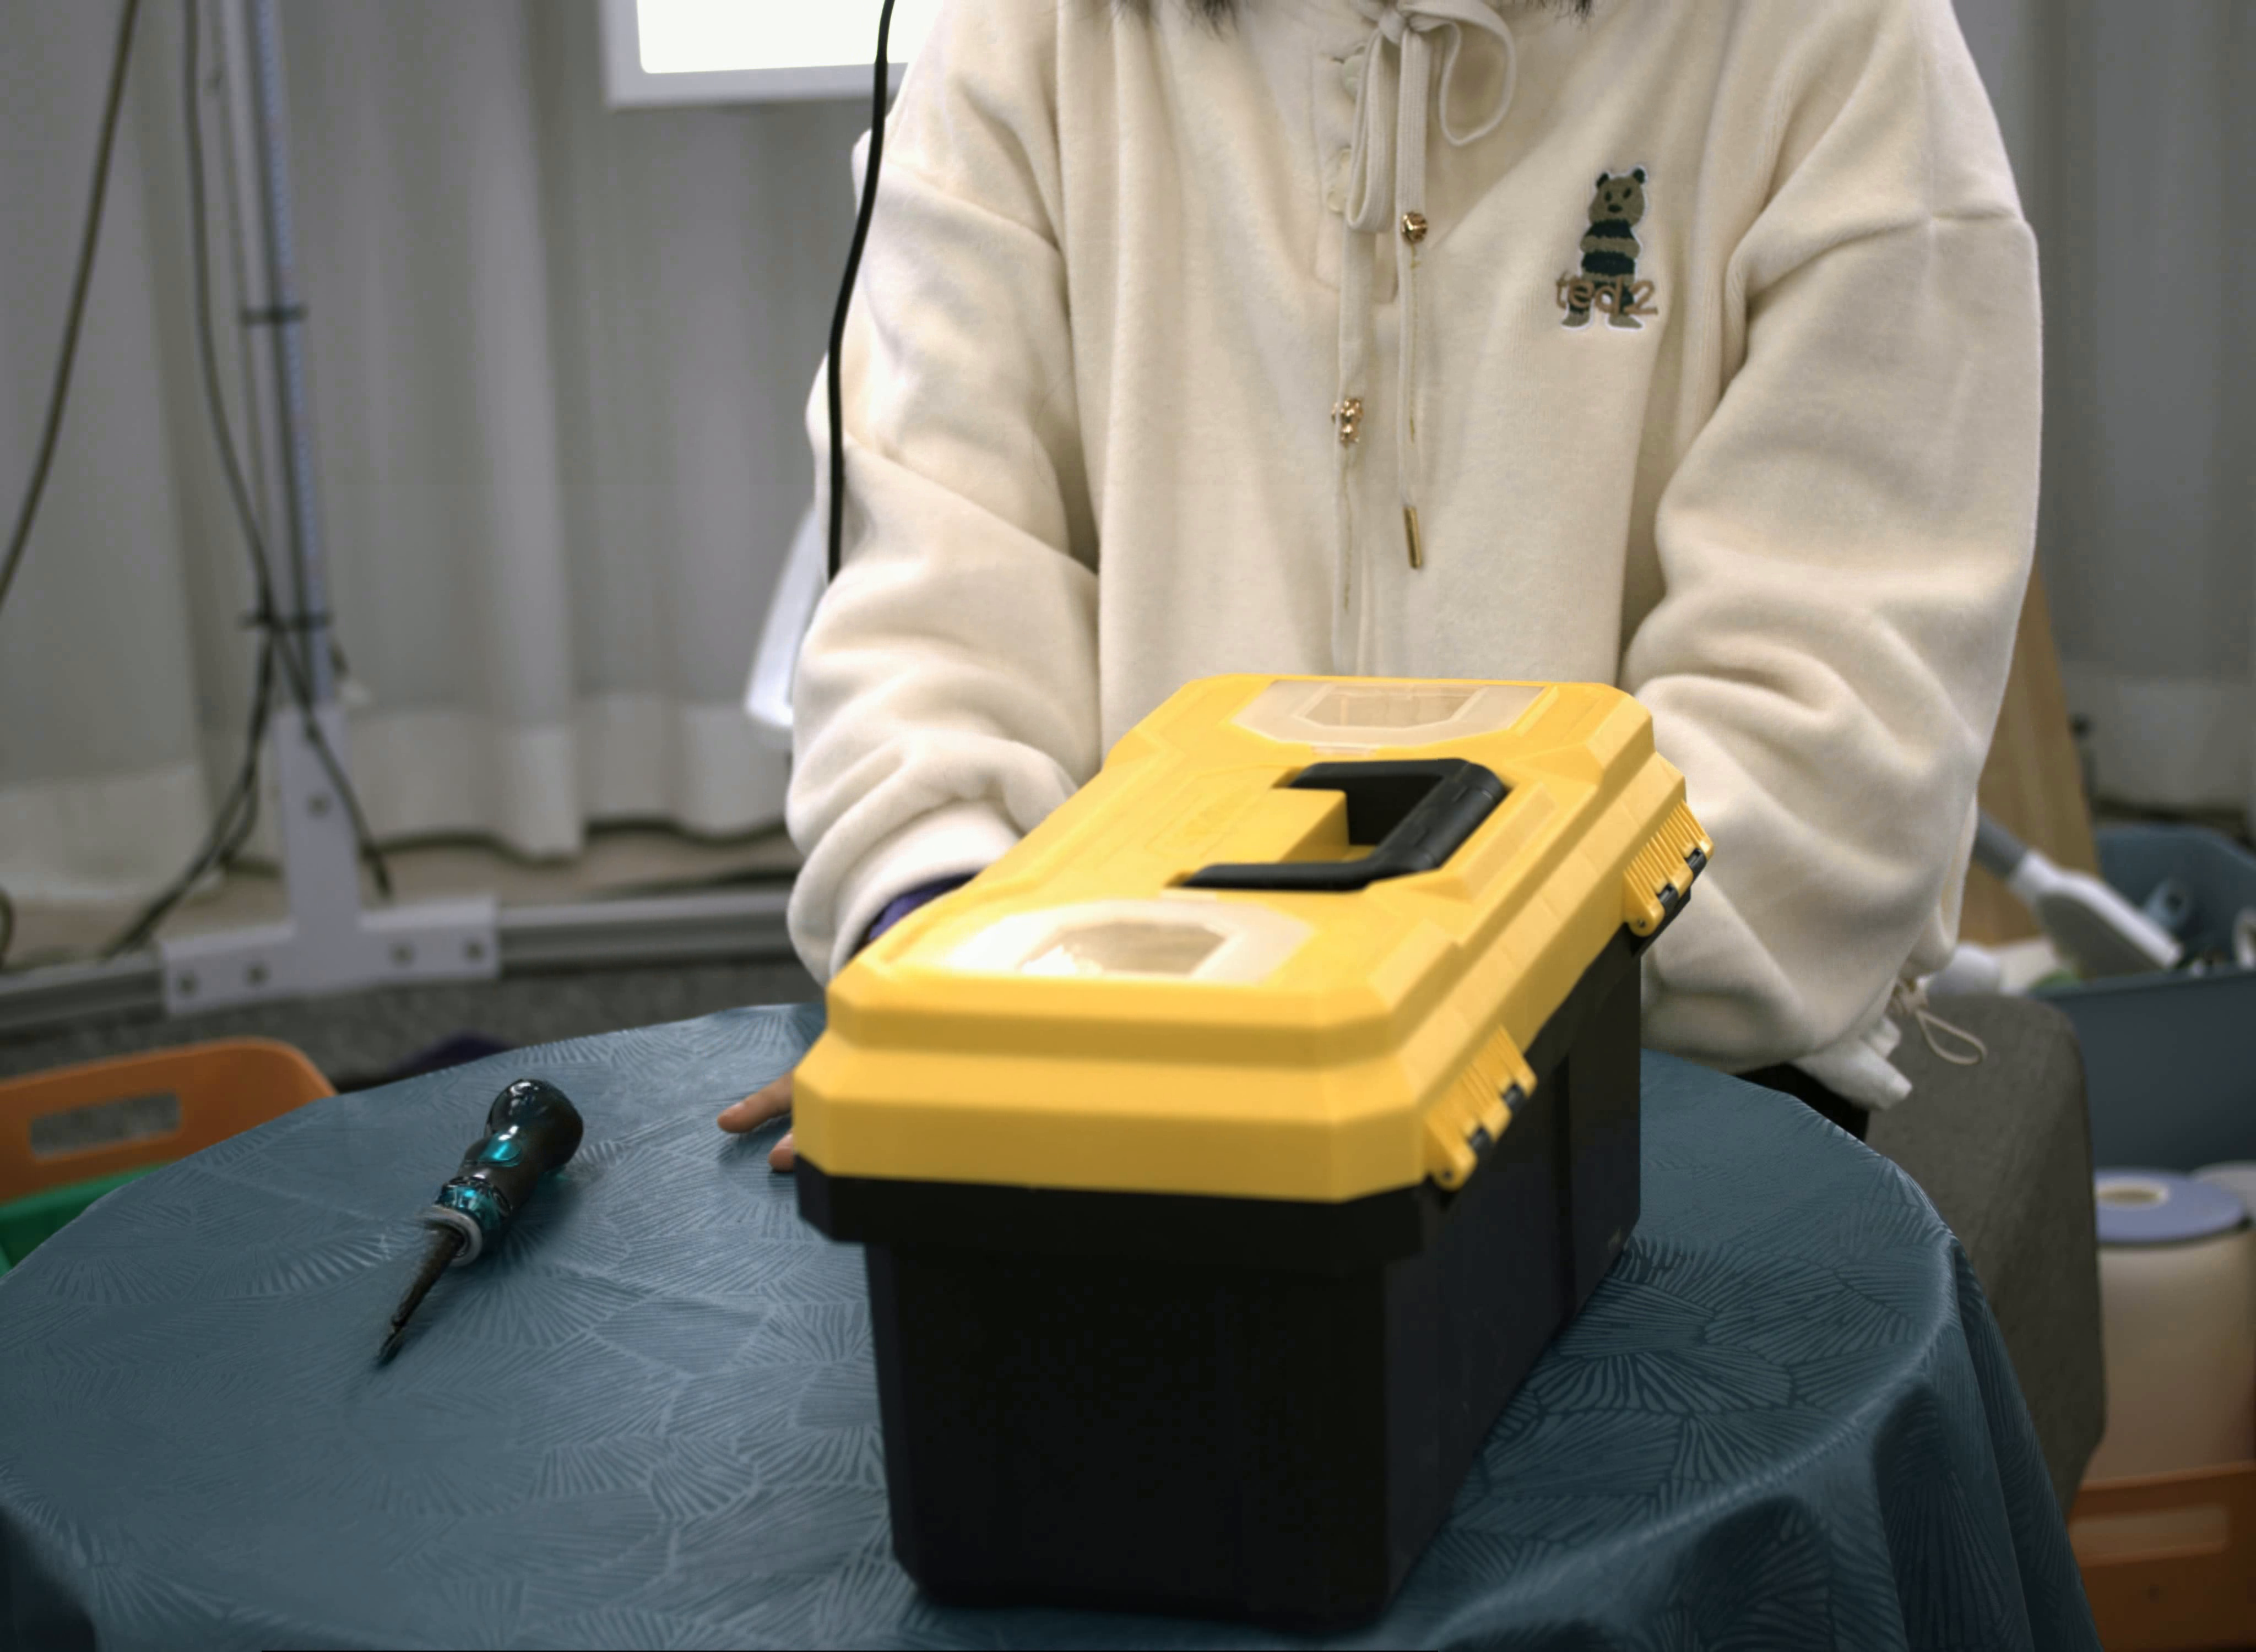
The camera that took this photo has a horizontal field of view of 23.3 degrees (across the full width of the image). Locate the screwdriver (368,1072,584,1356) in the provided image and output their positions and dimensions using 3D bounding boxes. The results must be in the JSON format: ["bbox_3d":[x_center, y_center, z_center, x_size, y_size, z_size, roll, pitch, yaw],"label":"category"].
[{"bbox_3d":[-0.204,0.122,1.685,0.033,0.033,0.191,0,20,11],"label":"screwdriver"}]

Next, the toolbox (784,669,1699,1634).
[{"bbox_3d":[0.043,0.079,1.505,0.181,0.172,0.353,2,15,18],"label":"toolbox"}]
